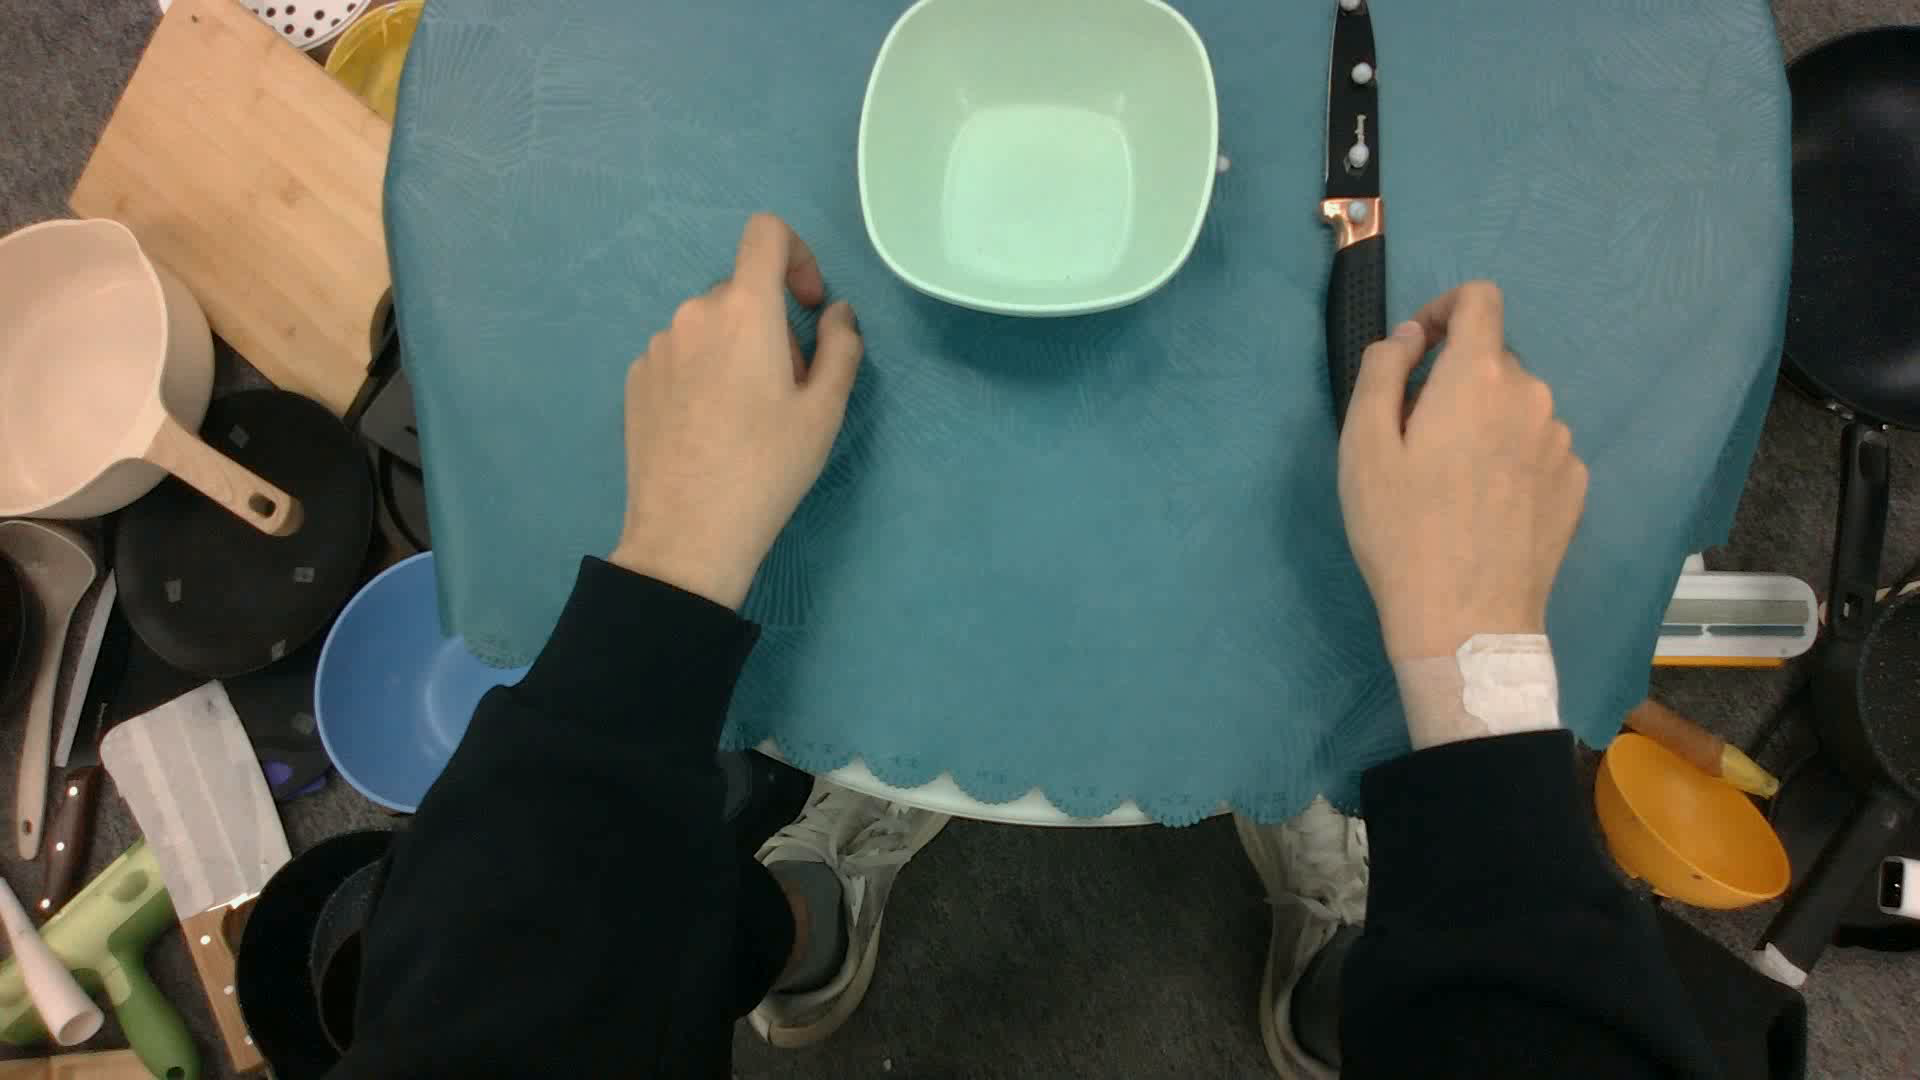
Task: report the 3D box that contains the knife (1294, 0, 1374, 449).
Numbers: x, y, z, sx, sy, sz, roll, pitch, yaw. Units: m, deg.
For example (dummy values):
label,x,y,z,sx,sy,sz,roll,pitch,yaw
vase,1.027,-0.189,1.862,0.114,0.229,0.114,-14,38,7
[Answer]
label,x,y,z,sx,sy,sz,roll,pitch,yaw
knife,0.156,-0.147,0.577,0.026,0.017,0.226,-2,78,10

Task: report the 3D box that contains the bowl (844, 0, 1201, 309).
label,x,y,z,sx,sy,sz,roll,pitch,yaw
bowl,0.025,-0.153,0.563,0.151,0.058,0.151,0,79,2
